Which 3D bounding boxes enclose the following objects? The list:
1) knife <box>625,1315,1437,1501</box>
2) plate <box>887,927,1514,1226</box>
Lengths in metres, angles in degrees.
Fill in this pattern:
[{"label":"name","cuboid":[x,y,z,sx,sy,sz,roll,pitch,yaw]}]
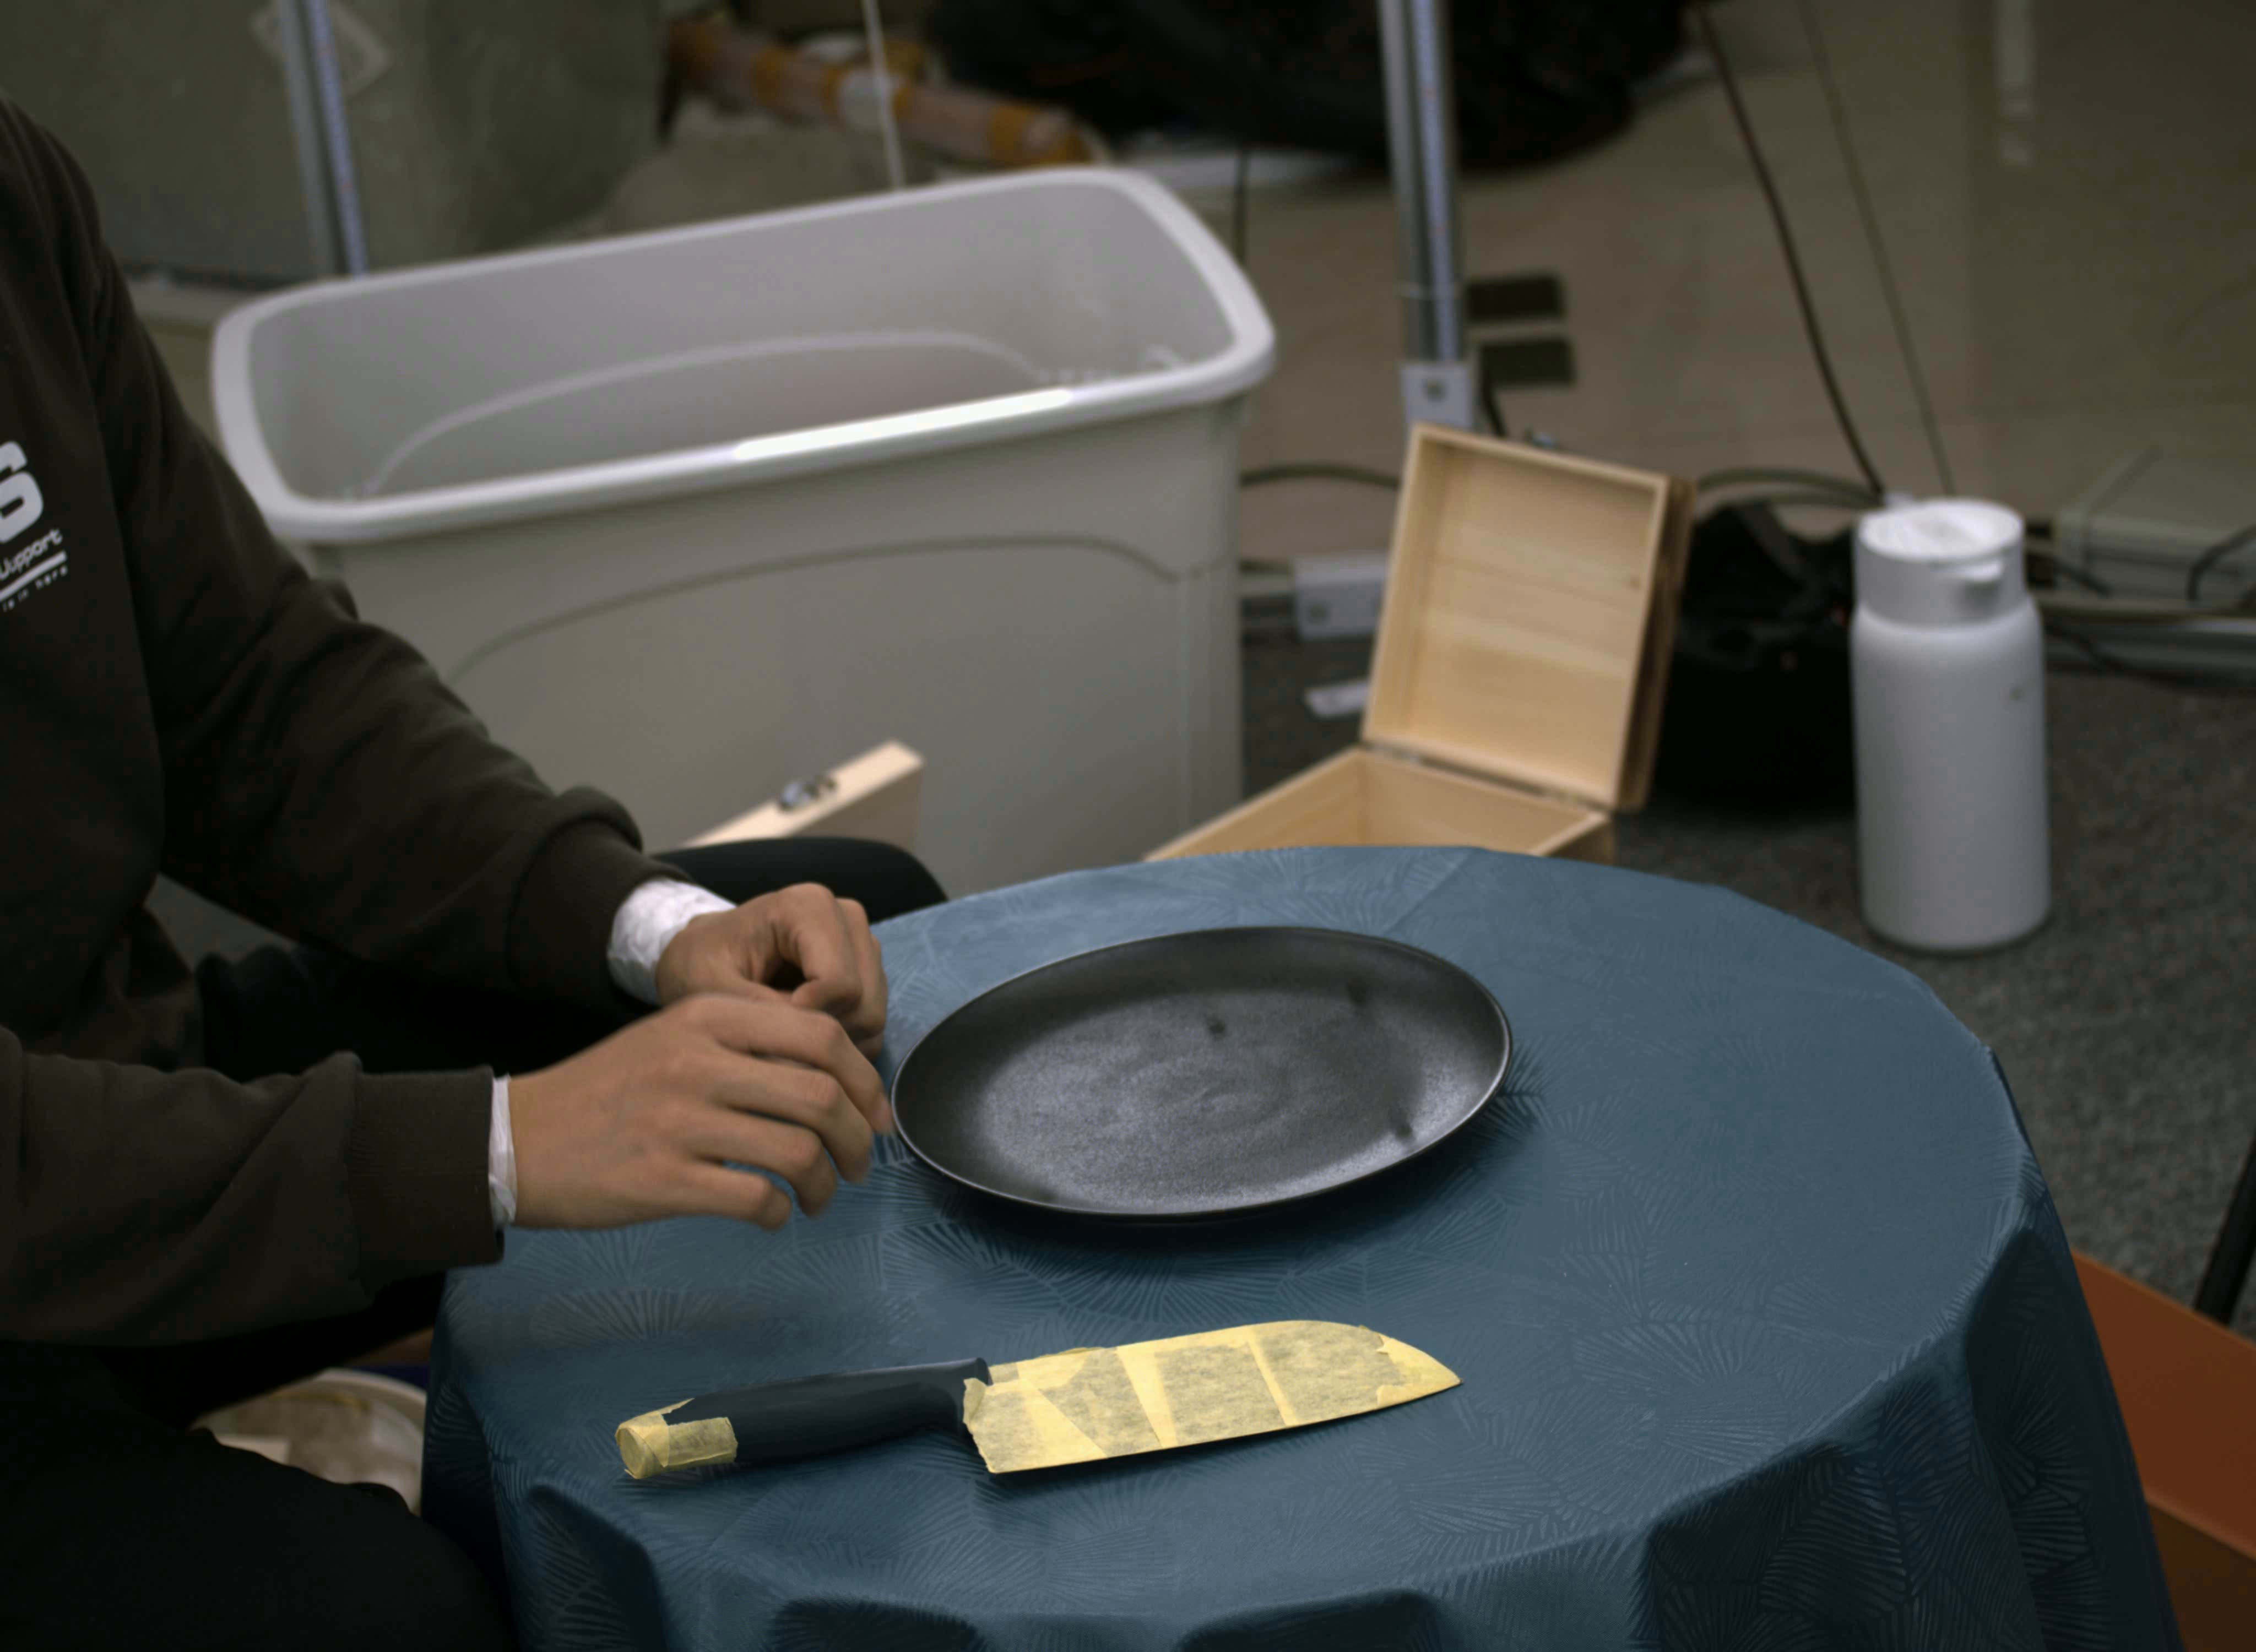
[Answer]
[{"label":"knife","cuboid":[-0.032,0.207,1.995,0.289,0.027,0.080,-9,23,-7]},{"label":"plate","cuboid":[0.029,0.102,2.197,0.244,0.024,0.241,-5,25,3]}]
